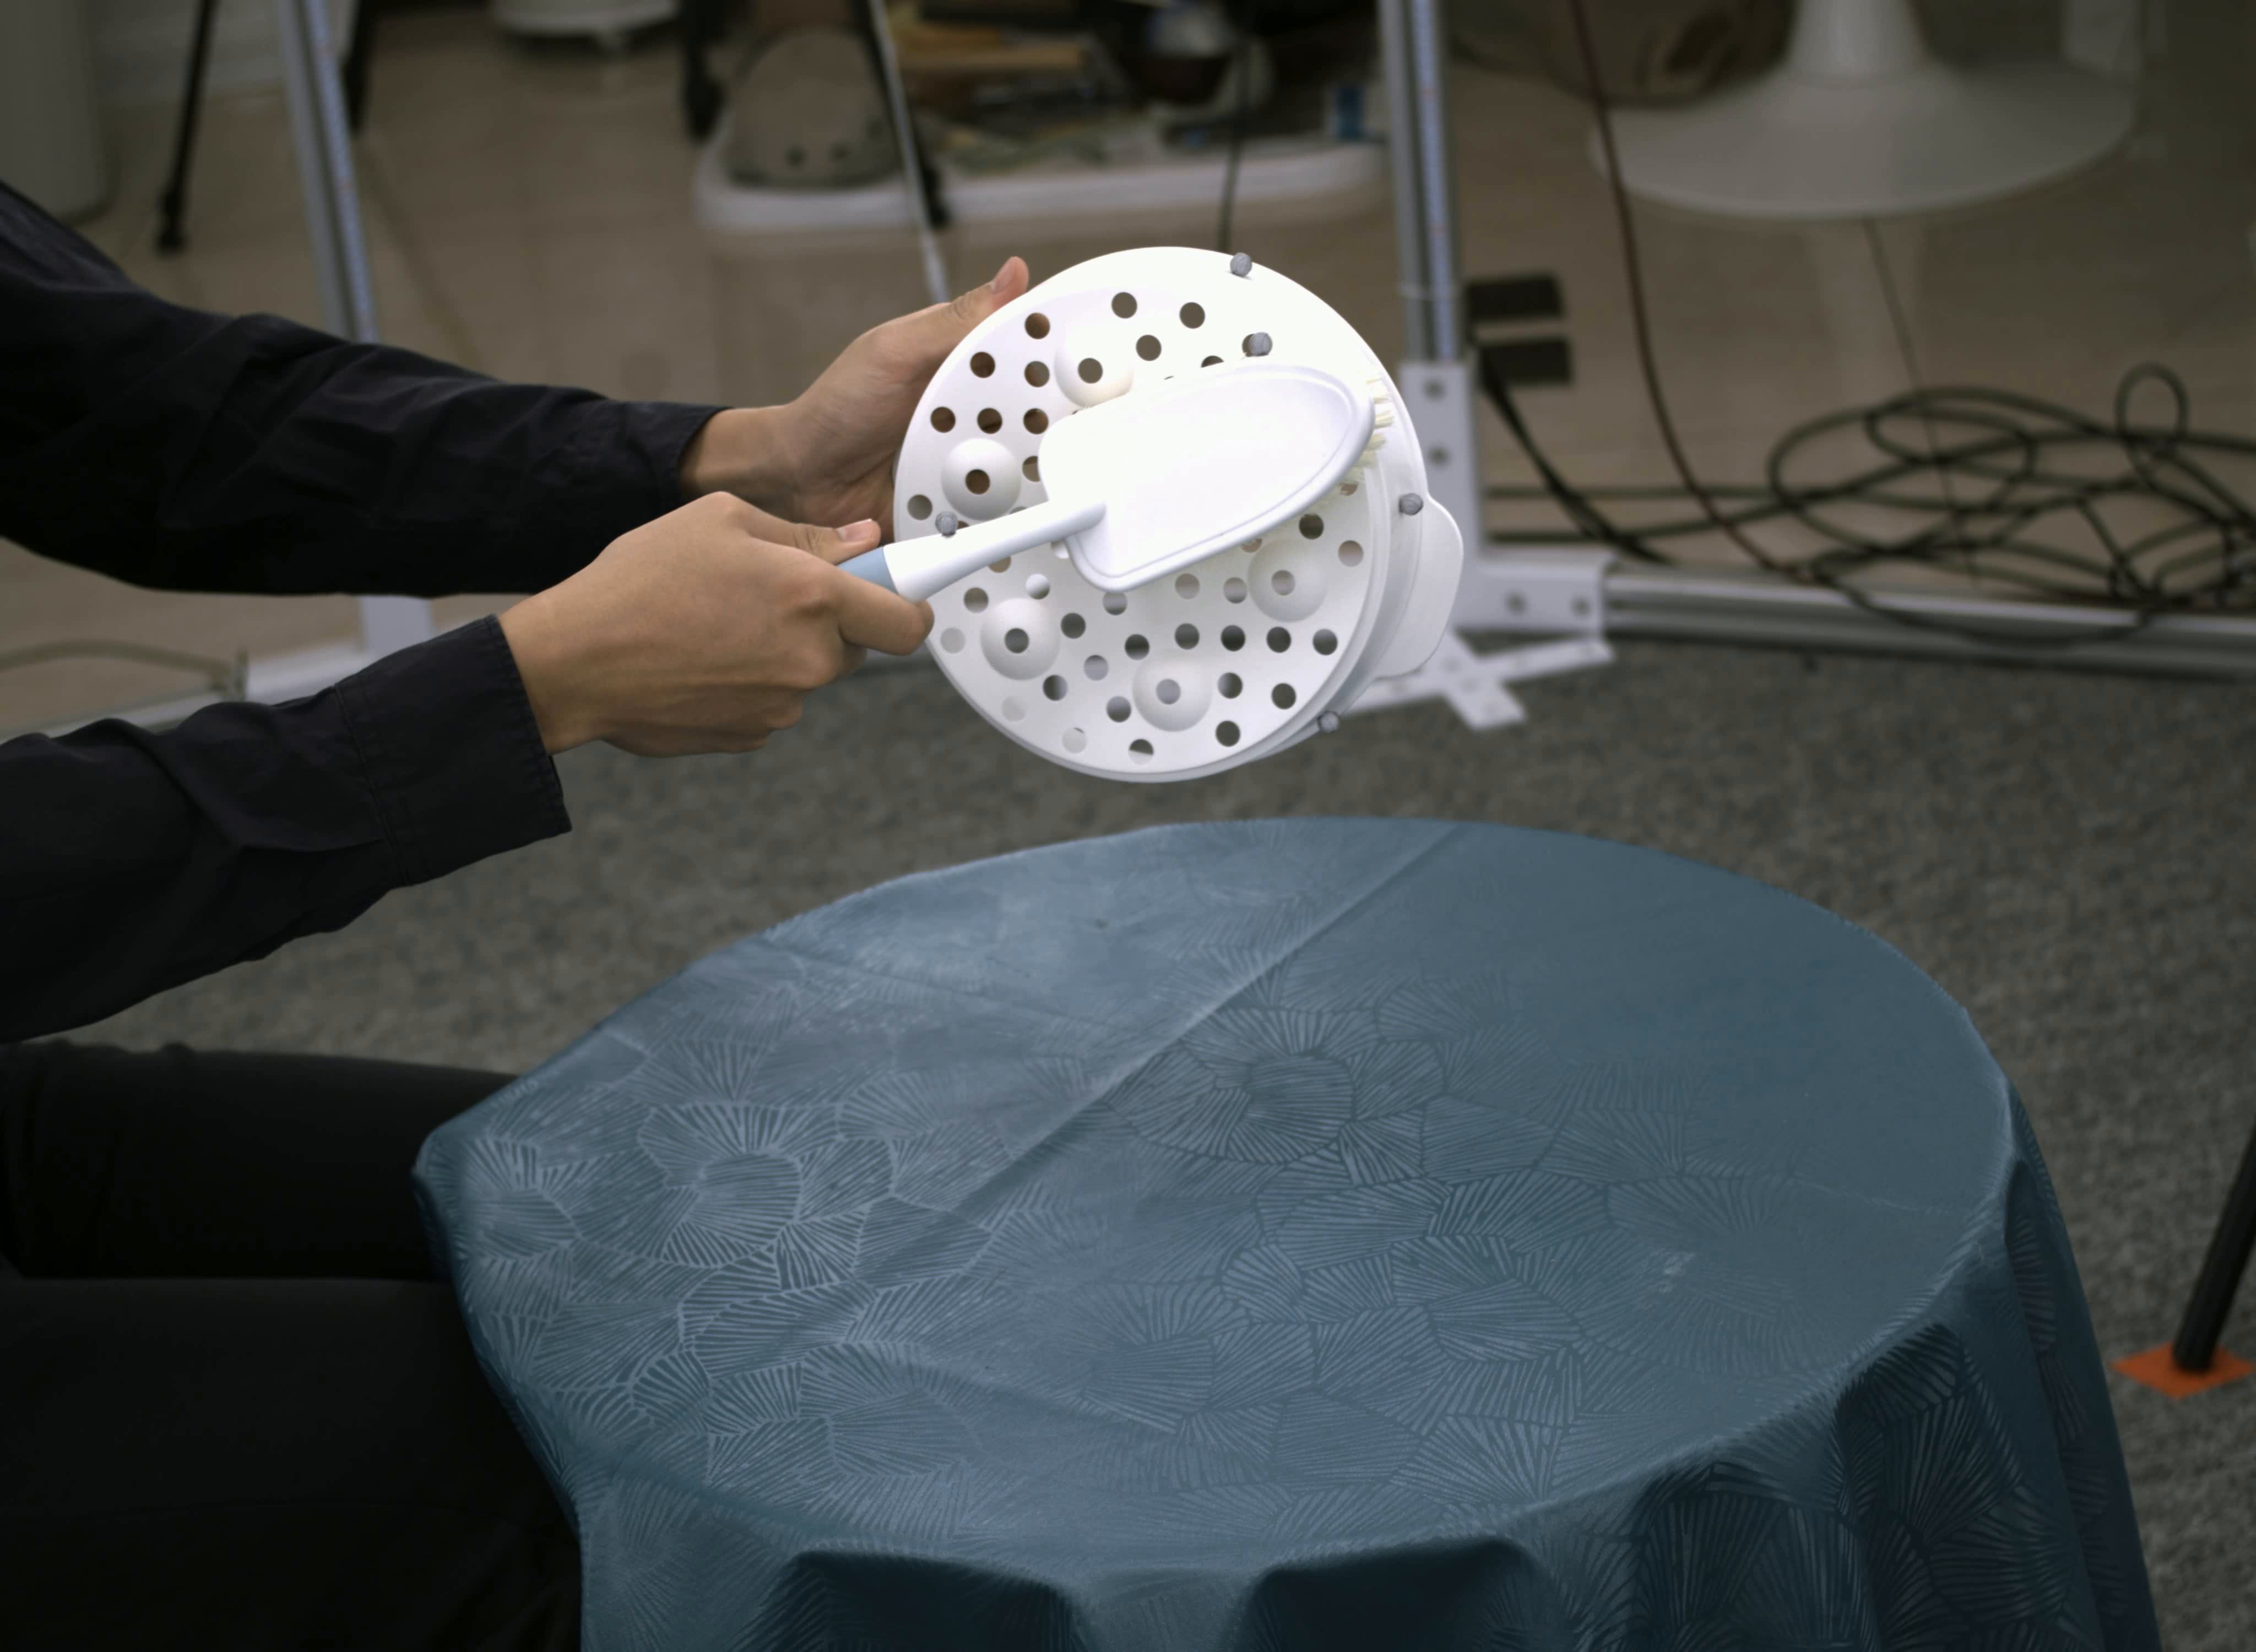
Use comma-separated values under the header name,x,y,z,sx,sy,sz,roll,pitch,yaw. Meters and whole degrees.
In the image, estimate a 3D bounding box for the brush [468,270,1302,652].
name,x,y,z,sx,sy,sz,roll,pitch,yaw
brush,-0.091,-0.136,2.095,0.325,0.086,0.082,-20,58,6

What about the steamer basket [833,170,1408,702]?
name,x,y,z,sx,sy,sz,roll,pitch,yaw
steamer basket,-0.011,-0.146,2.145,0.230,0.204,0.069,18,16,10
